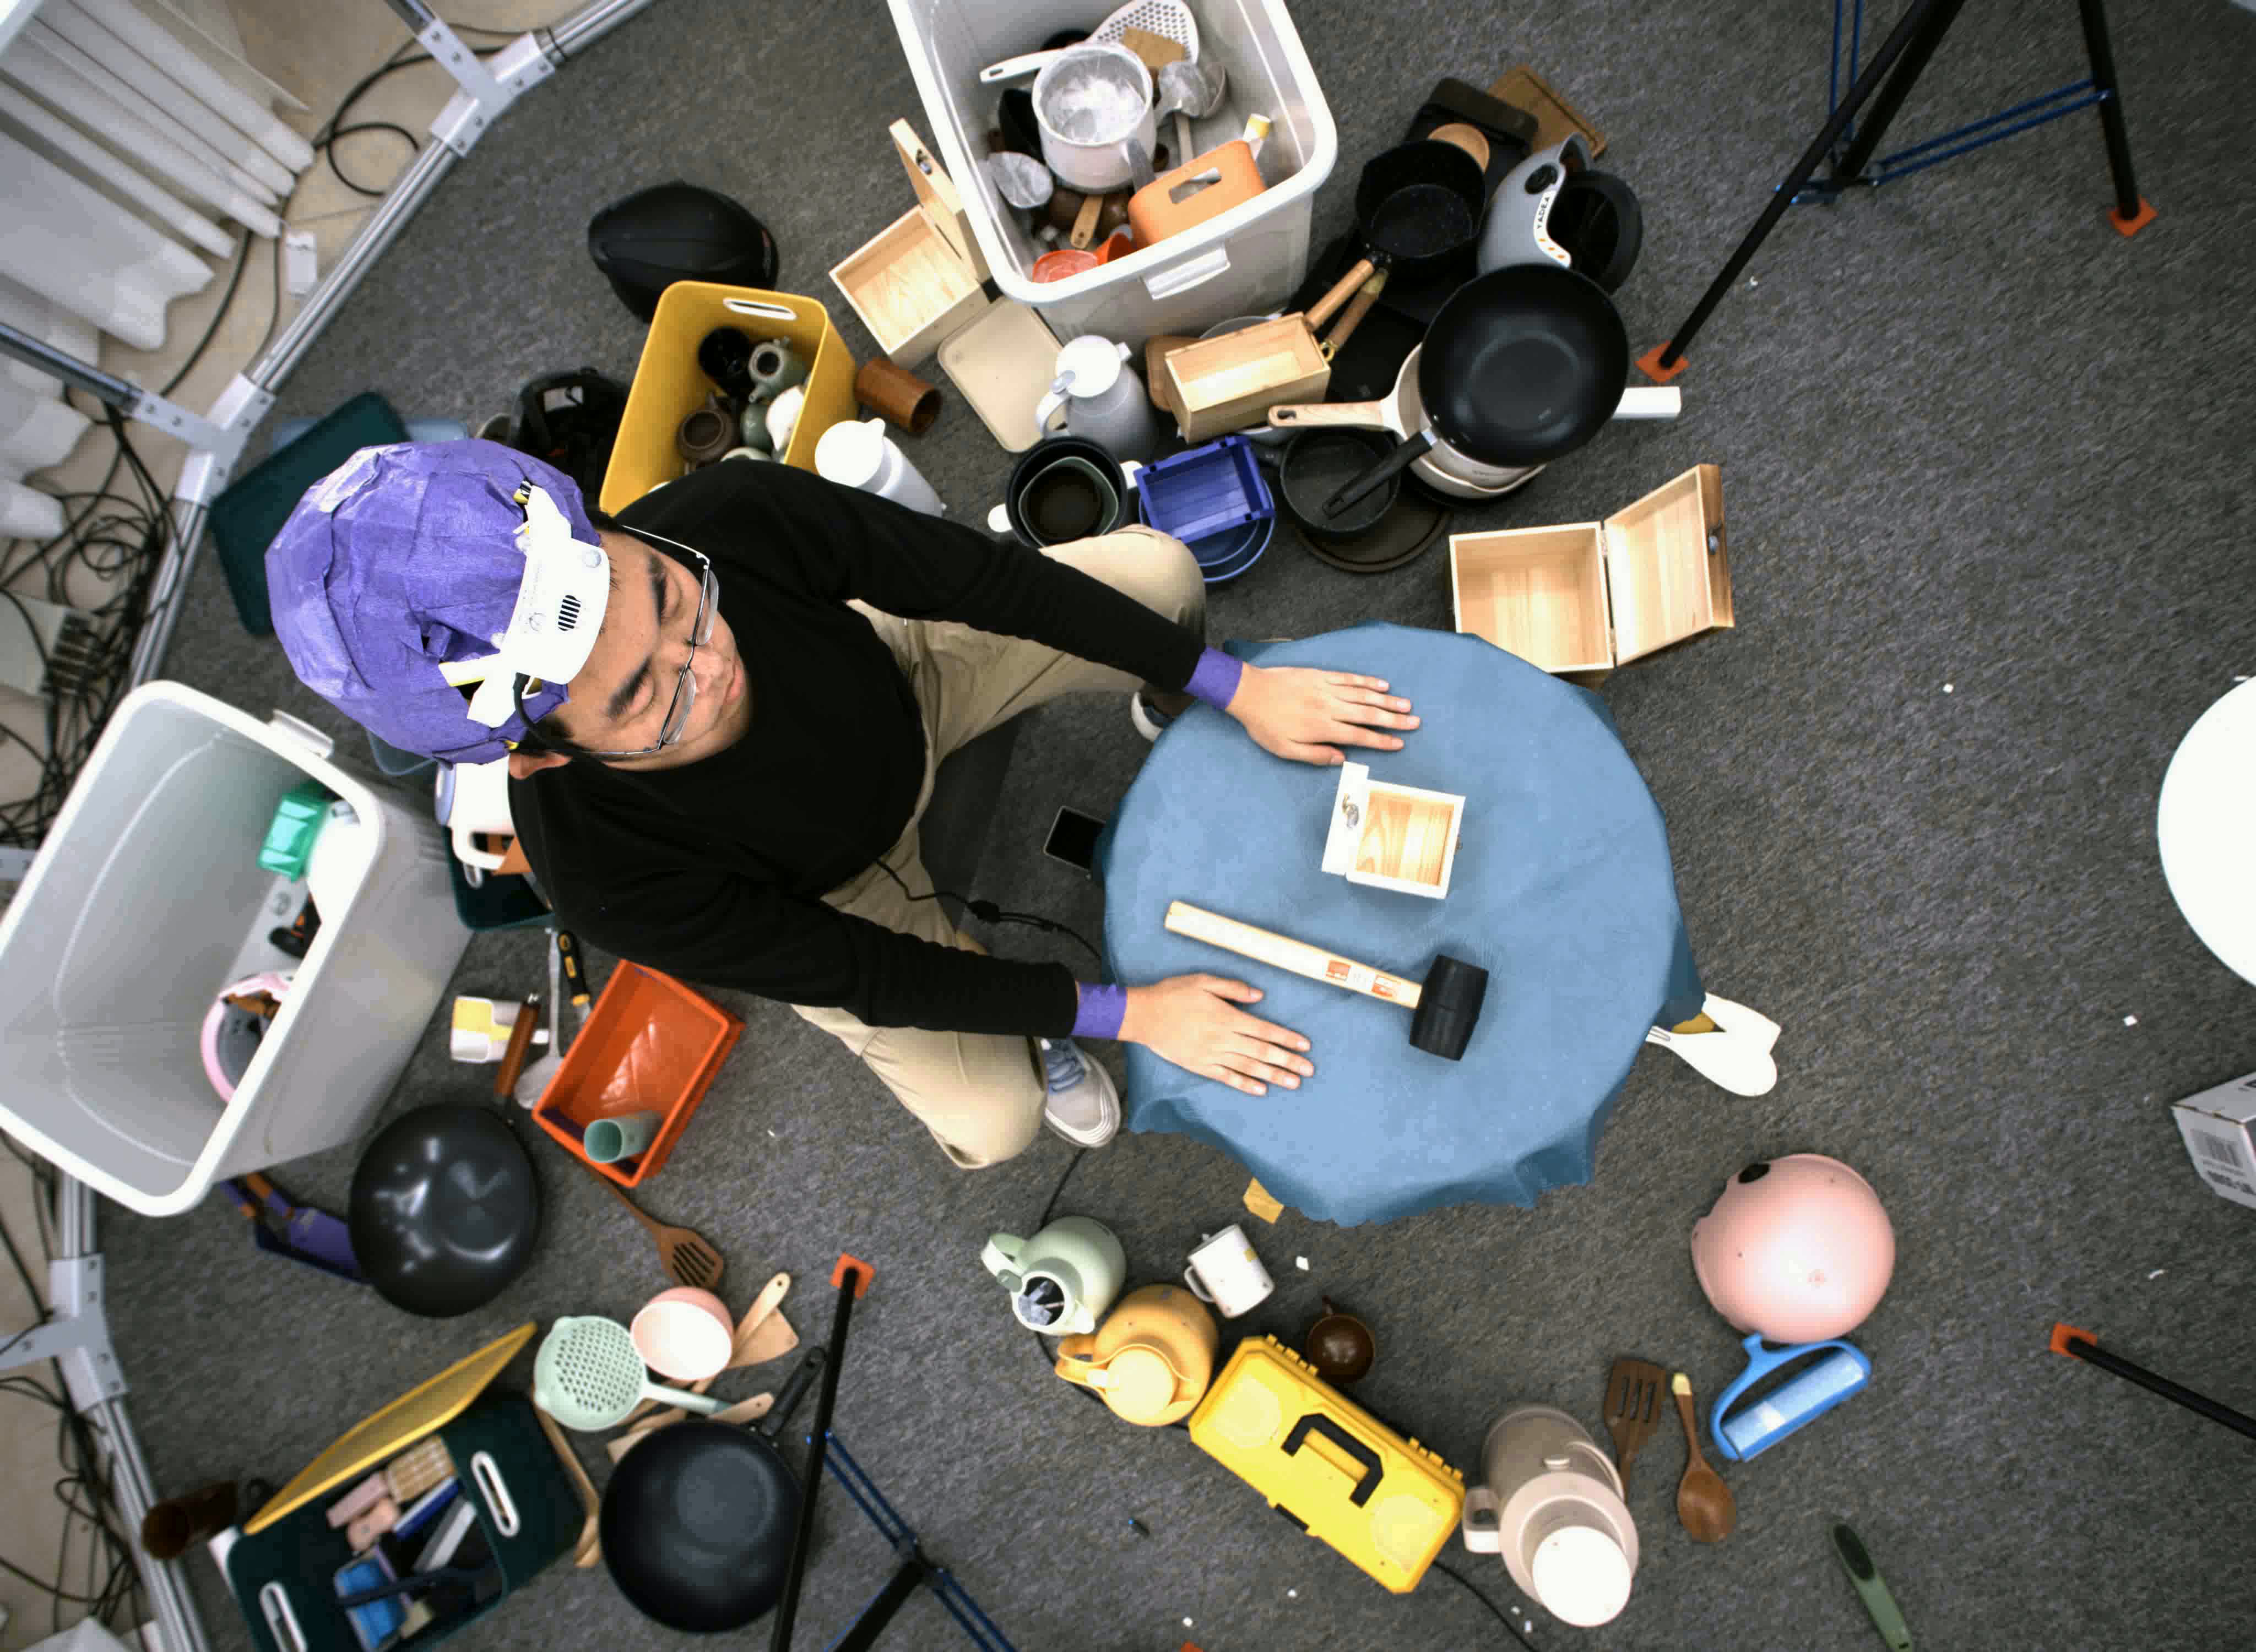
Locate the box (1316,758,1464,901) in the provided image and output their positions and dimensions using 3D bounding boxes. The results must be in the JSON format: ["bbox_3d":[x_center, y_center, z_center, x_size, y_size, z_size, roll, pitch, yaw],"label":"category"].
[{"bbox_3d":[0.265,0.006,1.374,0.134,0.185,0.102,11,86,14],"label":"box"}]

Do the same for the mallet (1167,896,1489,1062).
[{"bbox_3d":[0.200,0.142,1.441,0.339,0.064,0.101,19,89,12],"label":"mallet"}]
